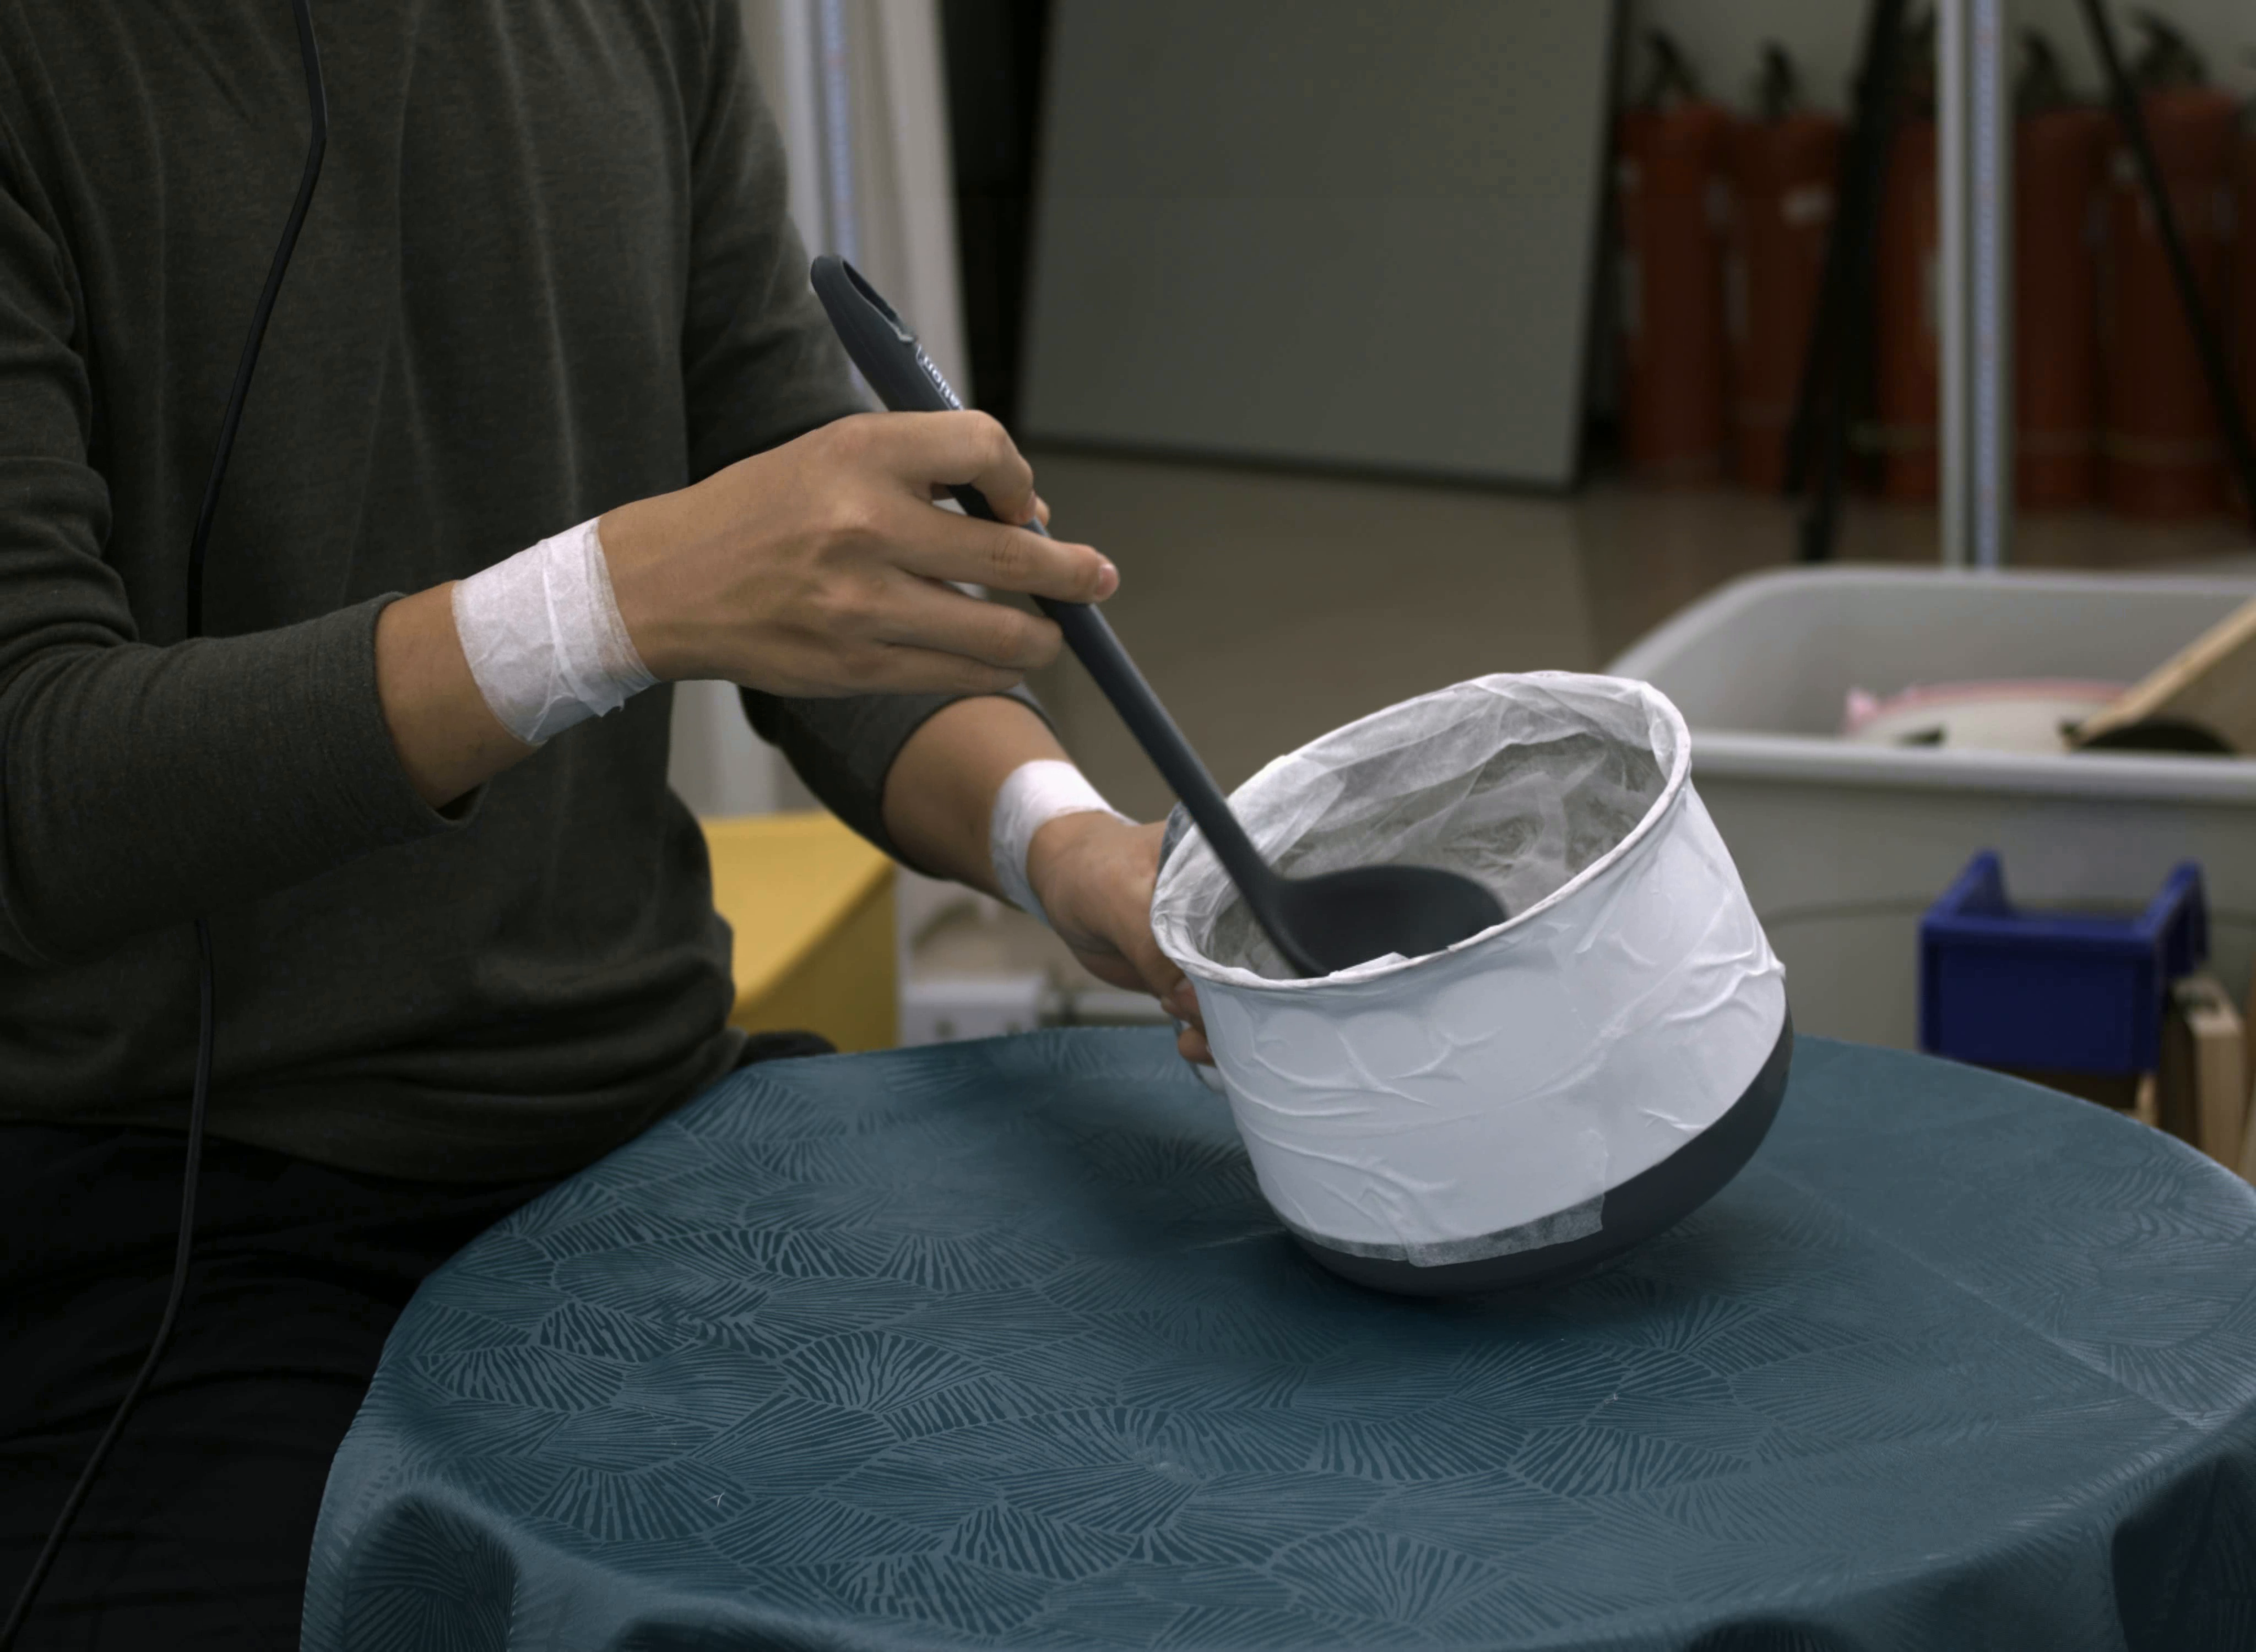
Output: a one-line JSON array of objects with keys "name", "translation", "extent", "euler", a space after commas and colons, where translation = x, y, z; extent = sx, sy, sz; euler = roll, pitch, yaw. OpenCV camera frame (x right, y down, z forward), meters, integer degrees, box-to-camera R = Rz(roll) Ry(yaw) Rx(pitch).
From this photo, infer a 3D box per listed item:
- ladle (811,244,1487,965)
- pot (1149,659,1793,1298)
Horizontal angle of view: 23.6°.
[{"name": "ladle", "translation": [0.013, -0.059, 1.633], "extent": [0.064, 0.313, 0.086], "euler": [-30, 19, 15]}, {"name": "pot", "translation": [0.092, 0.048, 1.688], "extent": [0.236, 0.137, 0.176], "euler": [5, 36, 48]}]
